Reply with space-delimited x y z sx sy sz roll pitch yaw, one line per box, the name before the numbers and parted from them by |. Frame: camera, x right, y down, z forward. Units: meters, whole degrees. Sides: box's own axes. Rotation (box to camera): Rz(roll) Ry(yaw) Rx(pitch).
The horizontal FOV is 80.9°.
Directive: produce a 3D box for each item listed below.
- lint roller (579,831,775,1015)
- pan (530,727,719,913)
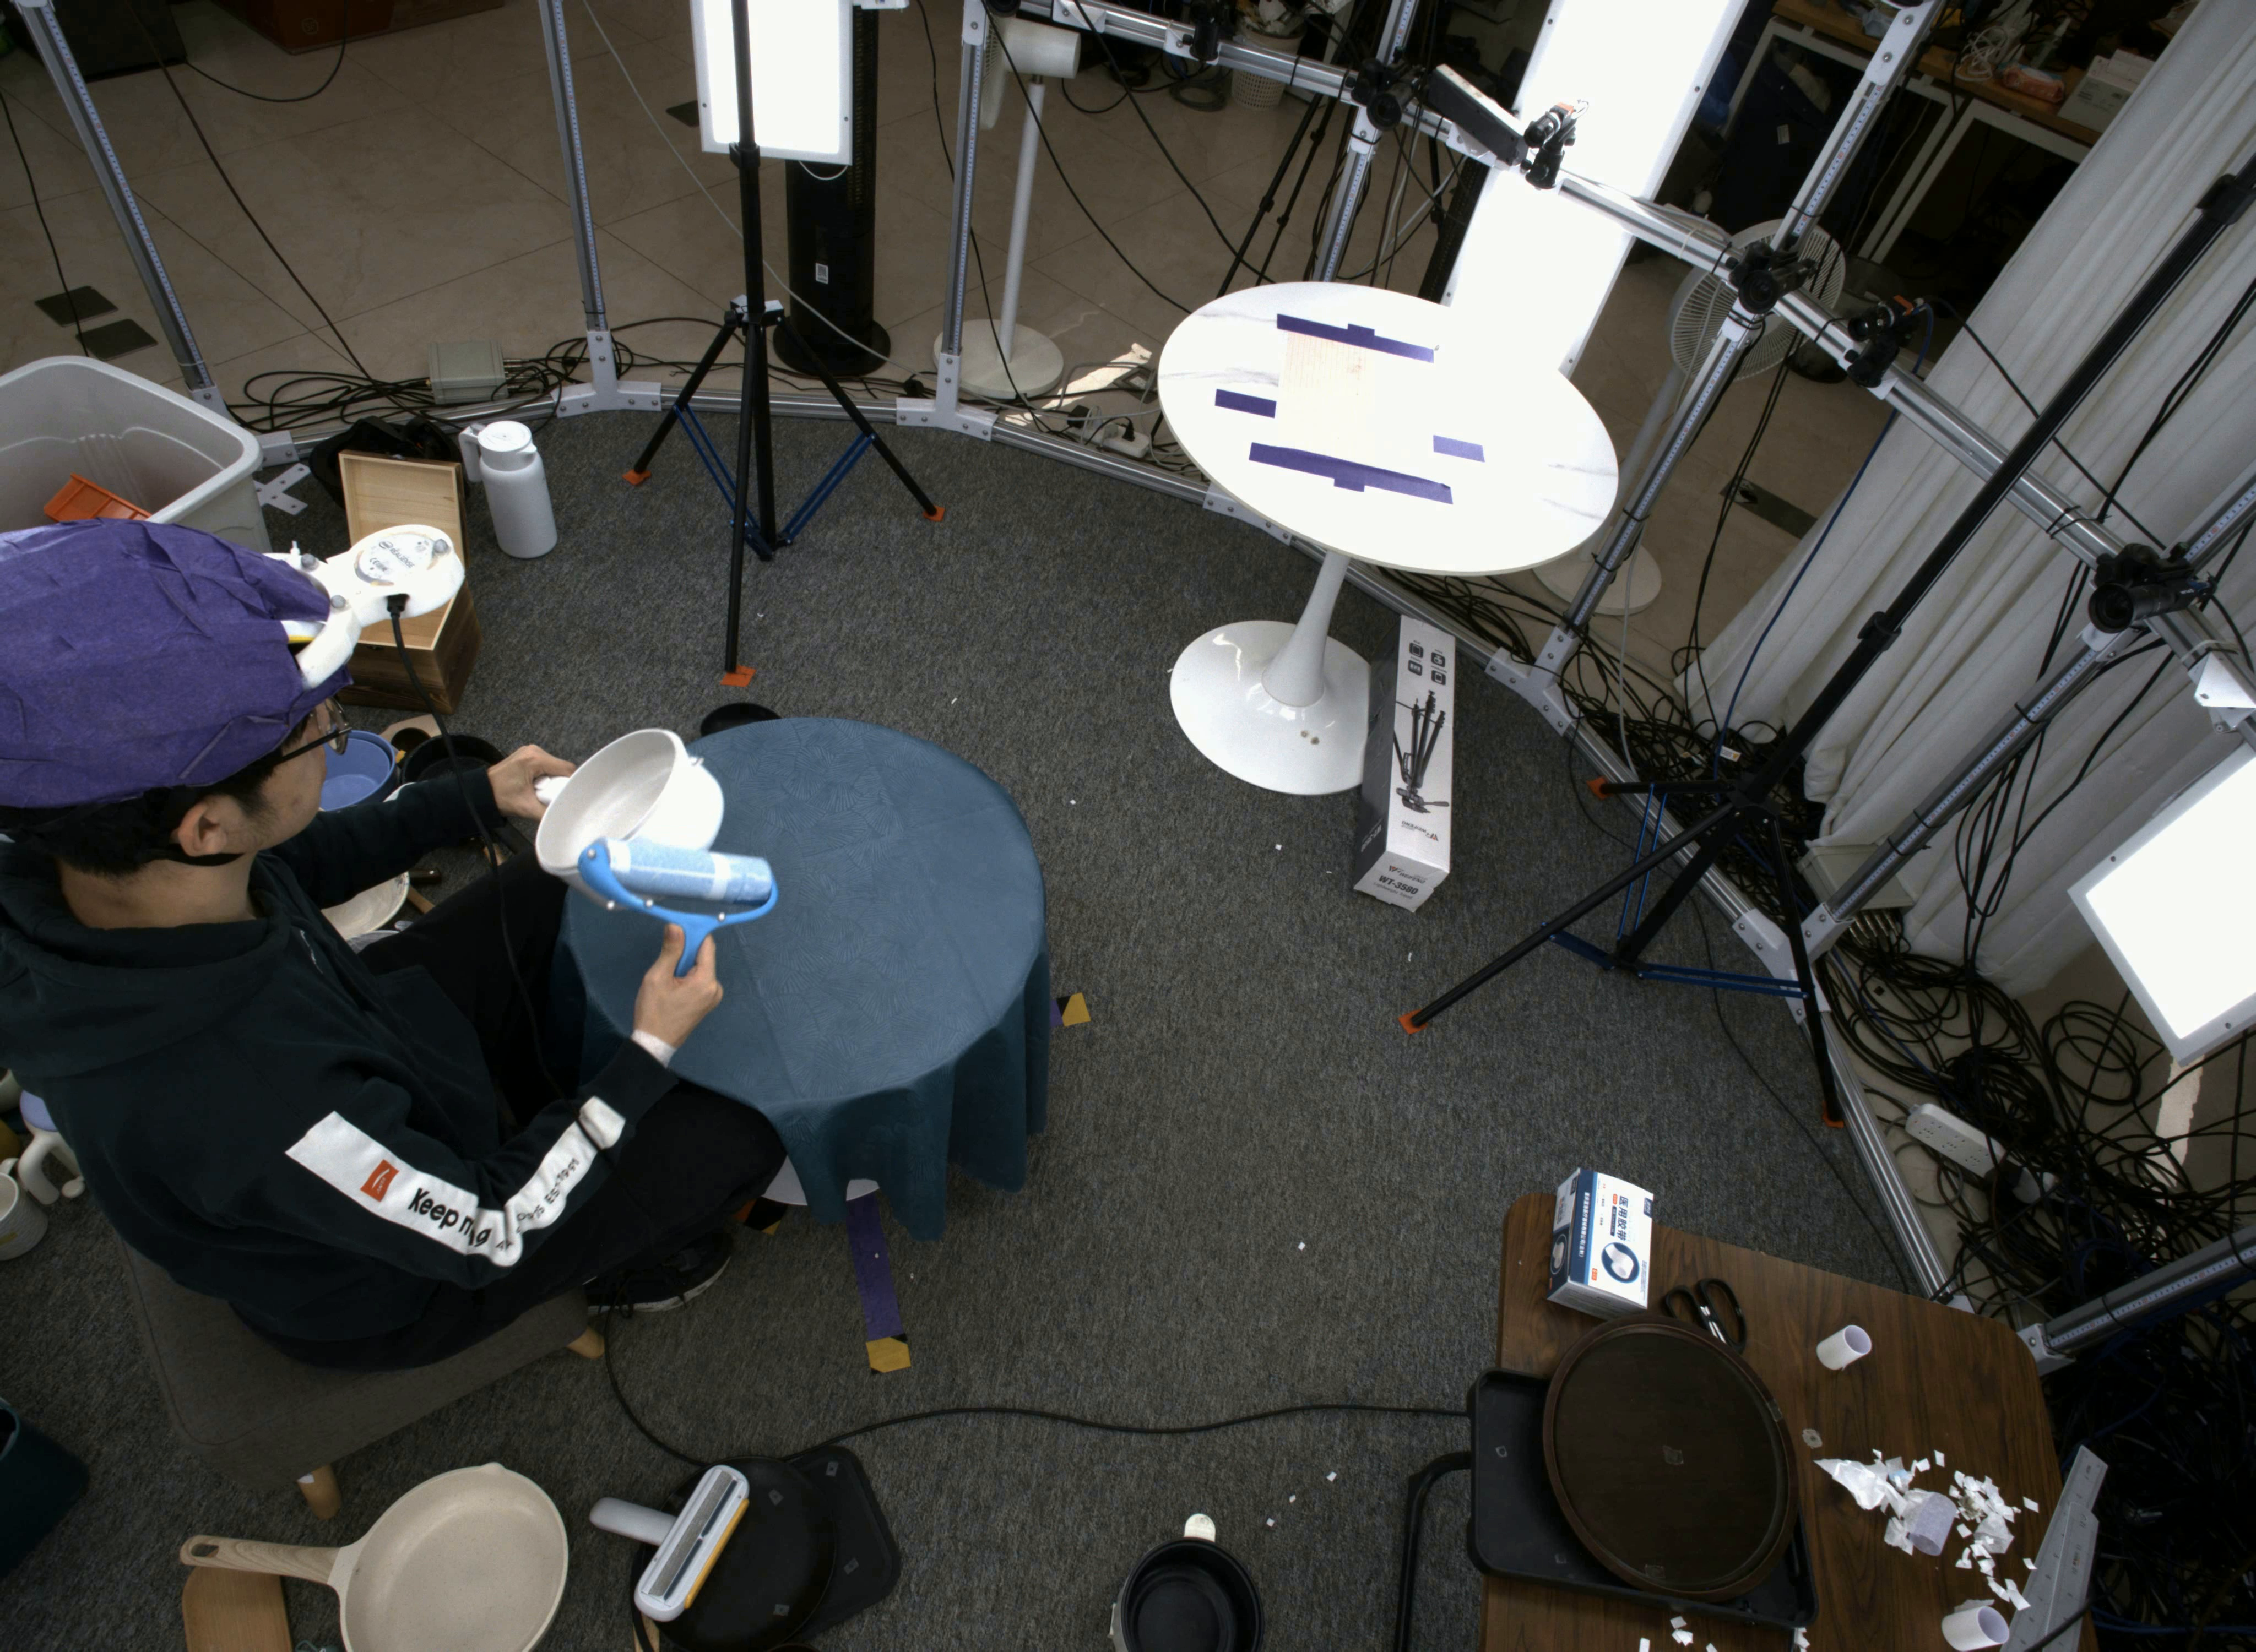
lint roller | -0.468 0.101 1.342 0.234 0.066 0.181 7 78 -53
pan | -0.608 -0.015 1.476 0.342 0.106 0.201 11 61 39
